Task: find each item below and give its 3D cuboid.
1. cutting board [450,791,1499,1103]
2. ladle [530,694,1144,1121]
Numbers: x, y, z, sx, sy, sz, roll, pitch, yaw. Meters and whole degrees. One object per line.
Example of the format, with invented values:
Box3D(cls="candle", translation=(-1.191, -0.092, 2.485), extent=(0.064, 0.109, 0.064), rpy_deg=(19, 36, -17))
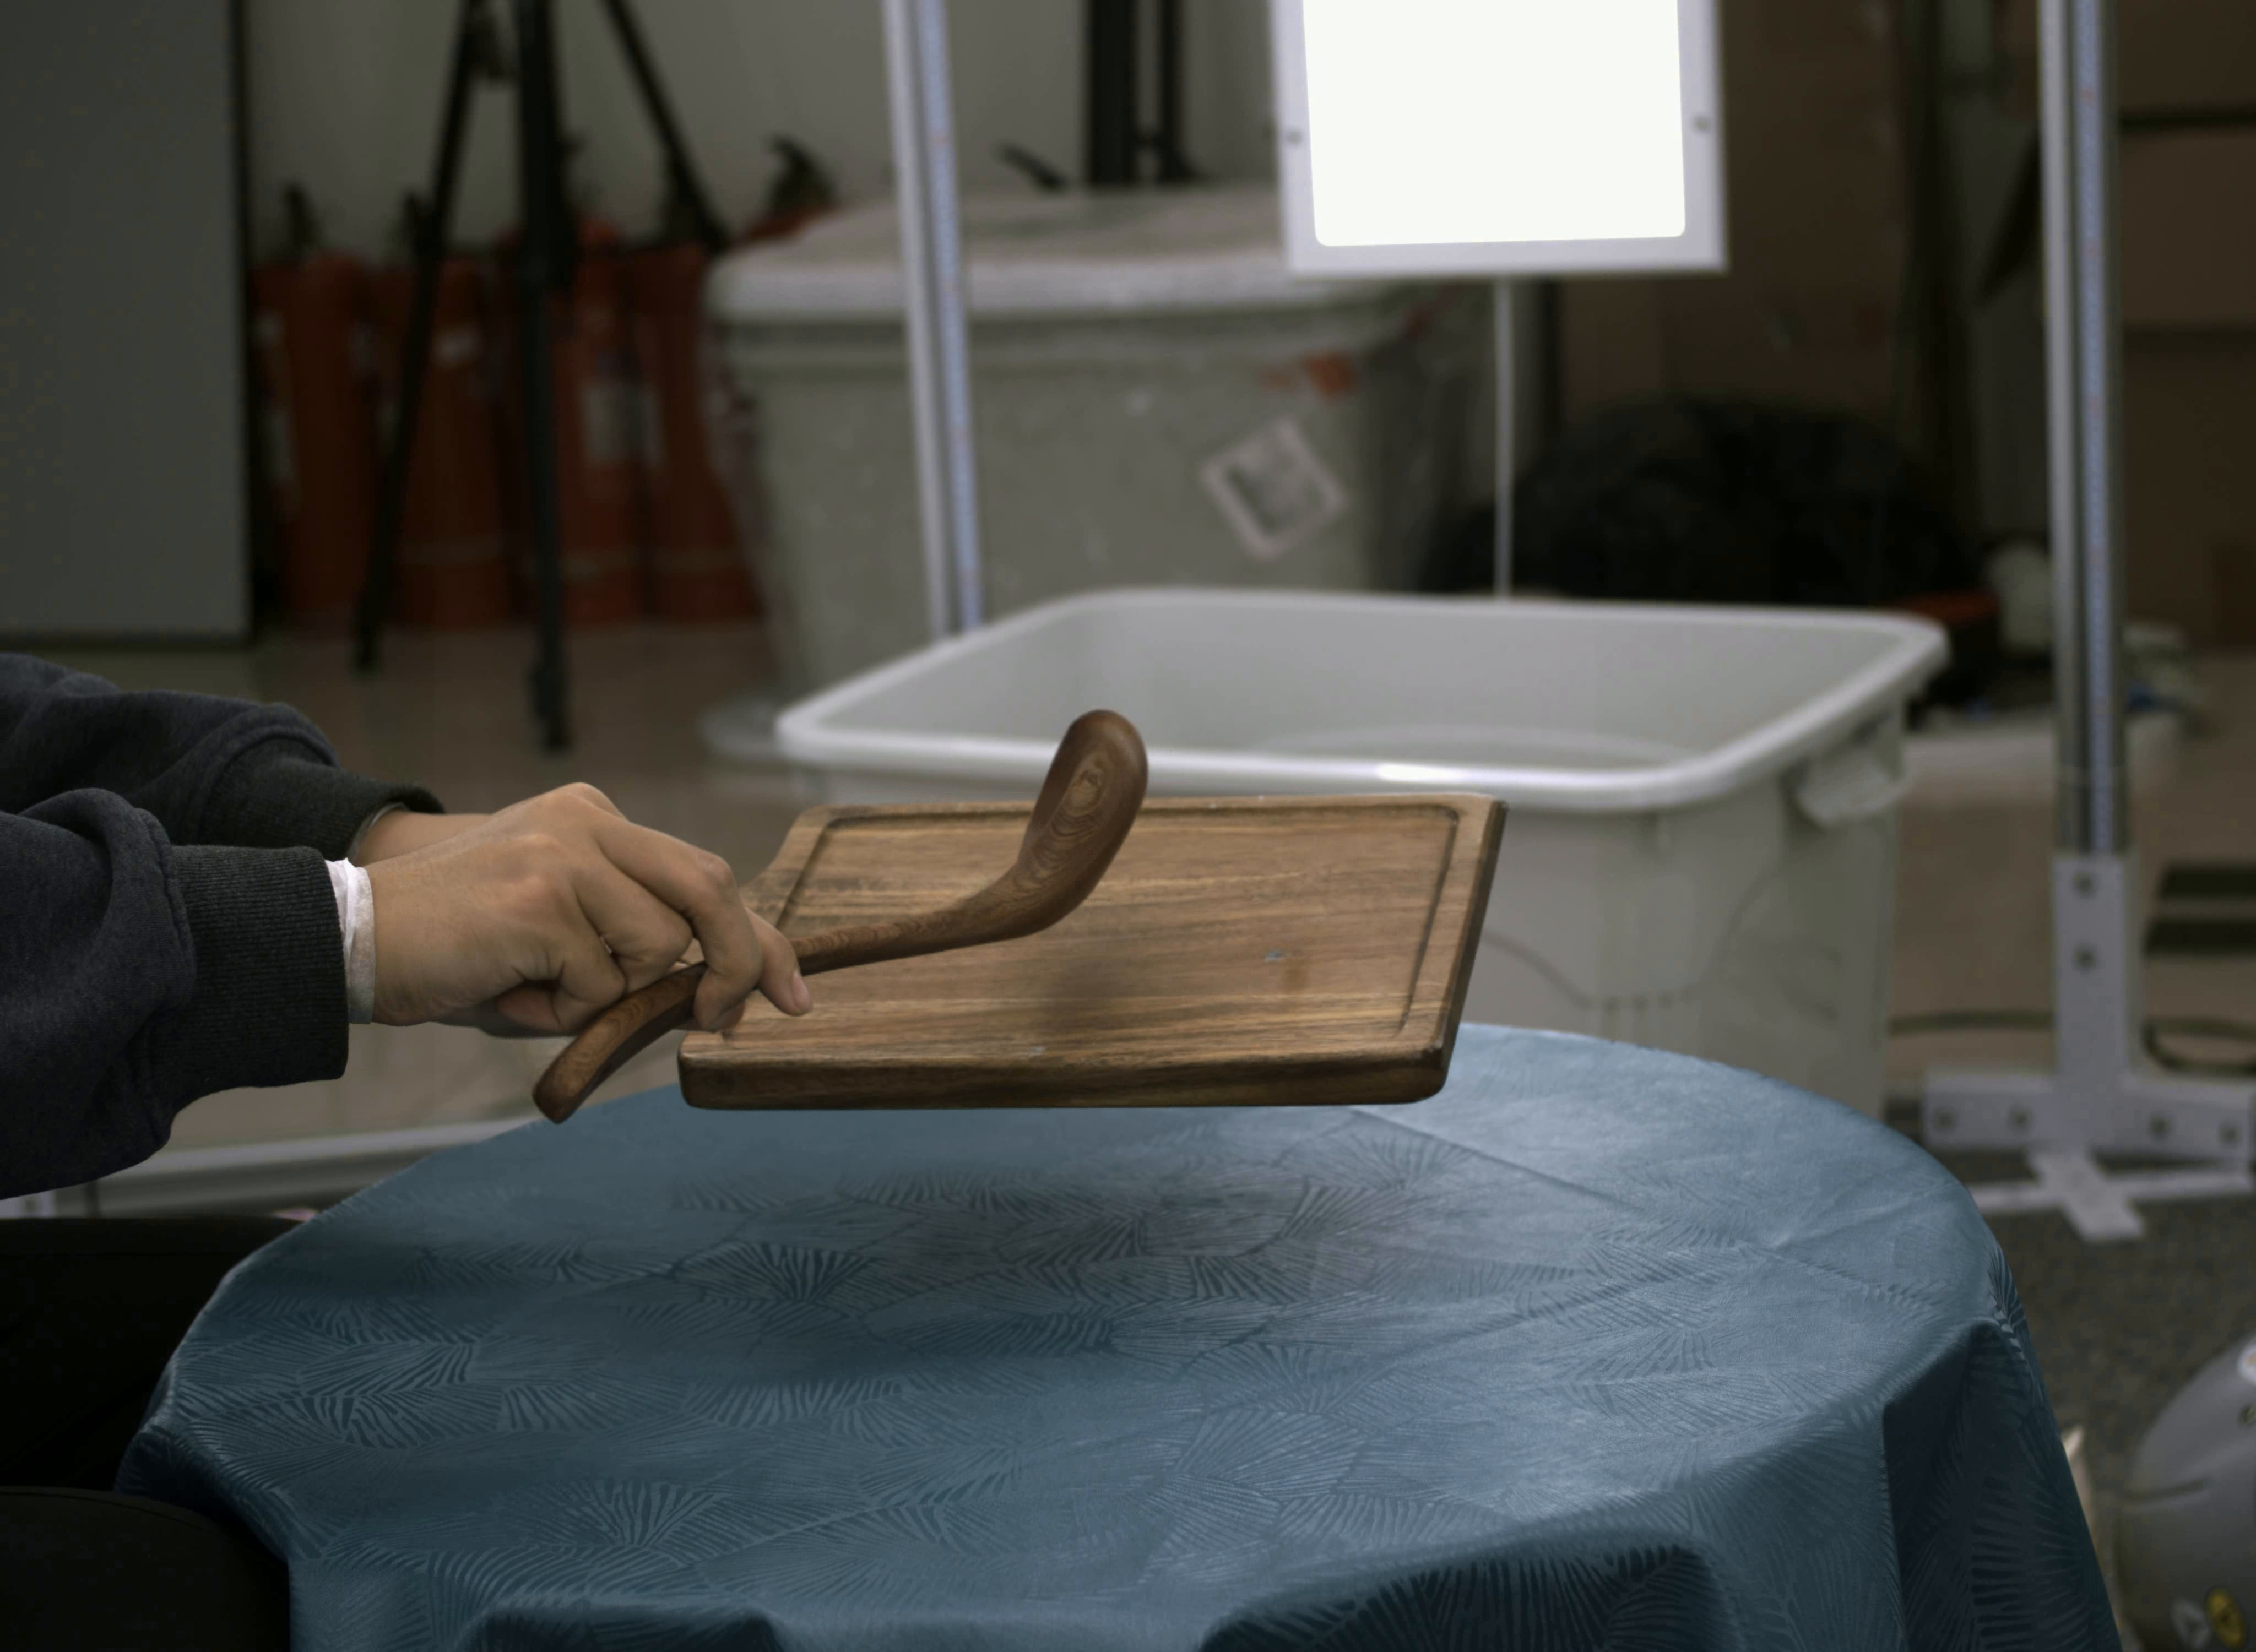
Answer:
Box3D(cls="cutting board", translation=(-0.057, 0.039, 1.844), extent=(0.355, 0.023, 0.199), rpy_deg=(-1, 25, 13))
Box3D(cls="ladle", translation=(-0.094, 0.025, 1.731), extent=(0.254, 0.077, 0.065), rpy_deg=(-21, 61, -34))
